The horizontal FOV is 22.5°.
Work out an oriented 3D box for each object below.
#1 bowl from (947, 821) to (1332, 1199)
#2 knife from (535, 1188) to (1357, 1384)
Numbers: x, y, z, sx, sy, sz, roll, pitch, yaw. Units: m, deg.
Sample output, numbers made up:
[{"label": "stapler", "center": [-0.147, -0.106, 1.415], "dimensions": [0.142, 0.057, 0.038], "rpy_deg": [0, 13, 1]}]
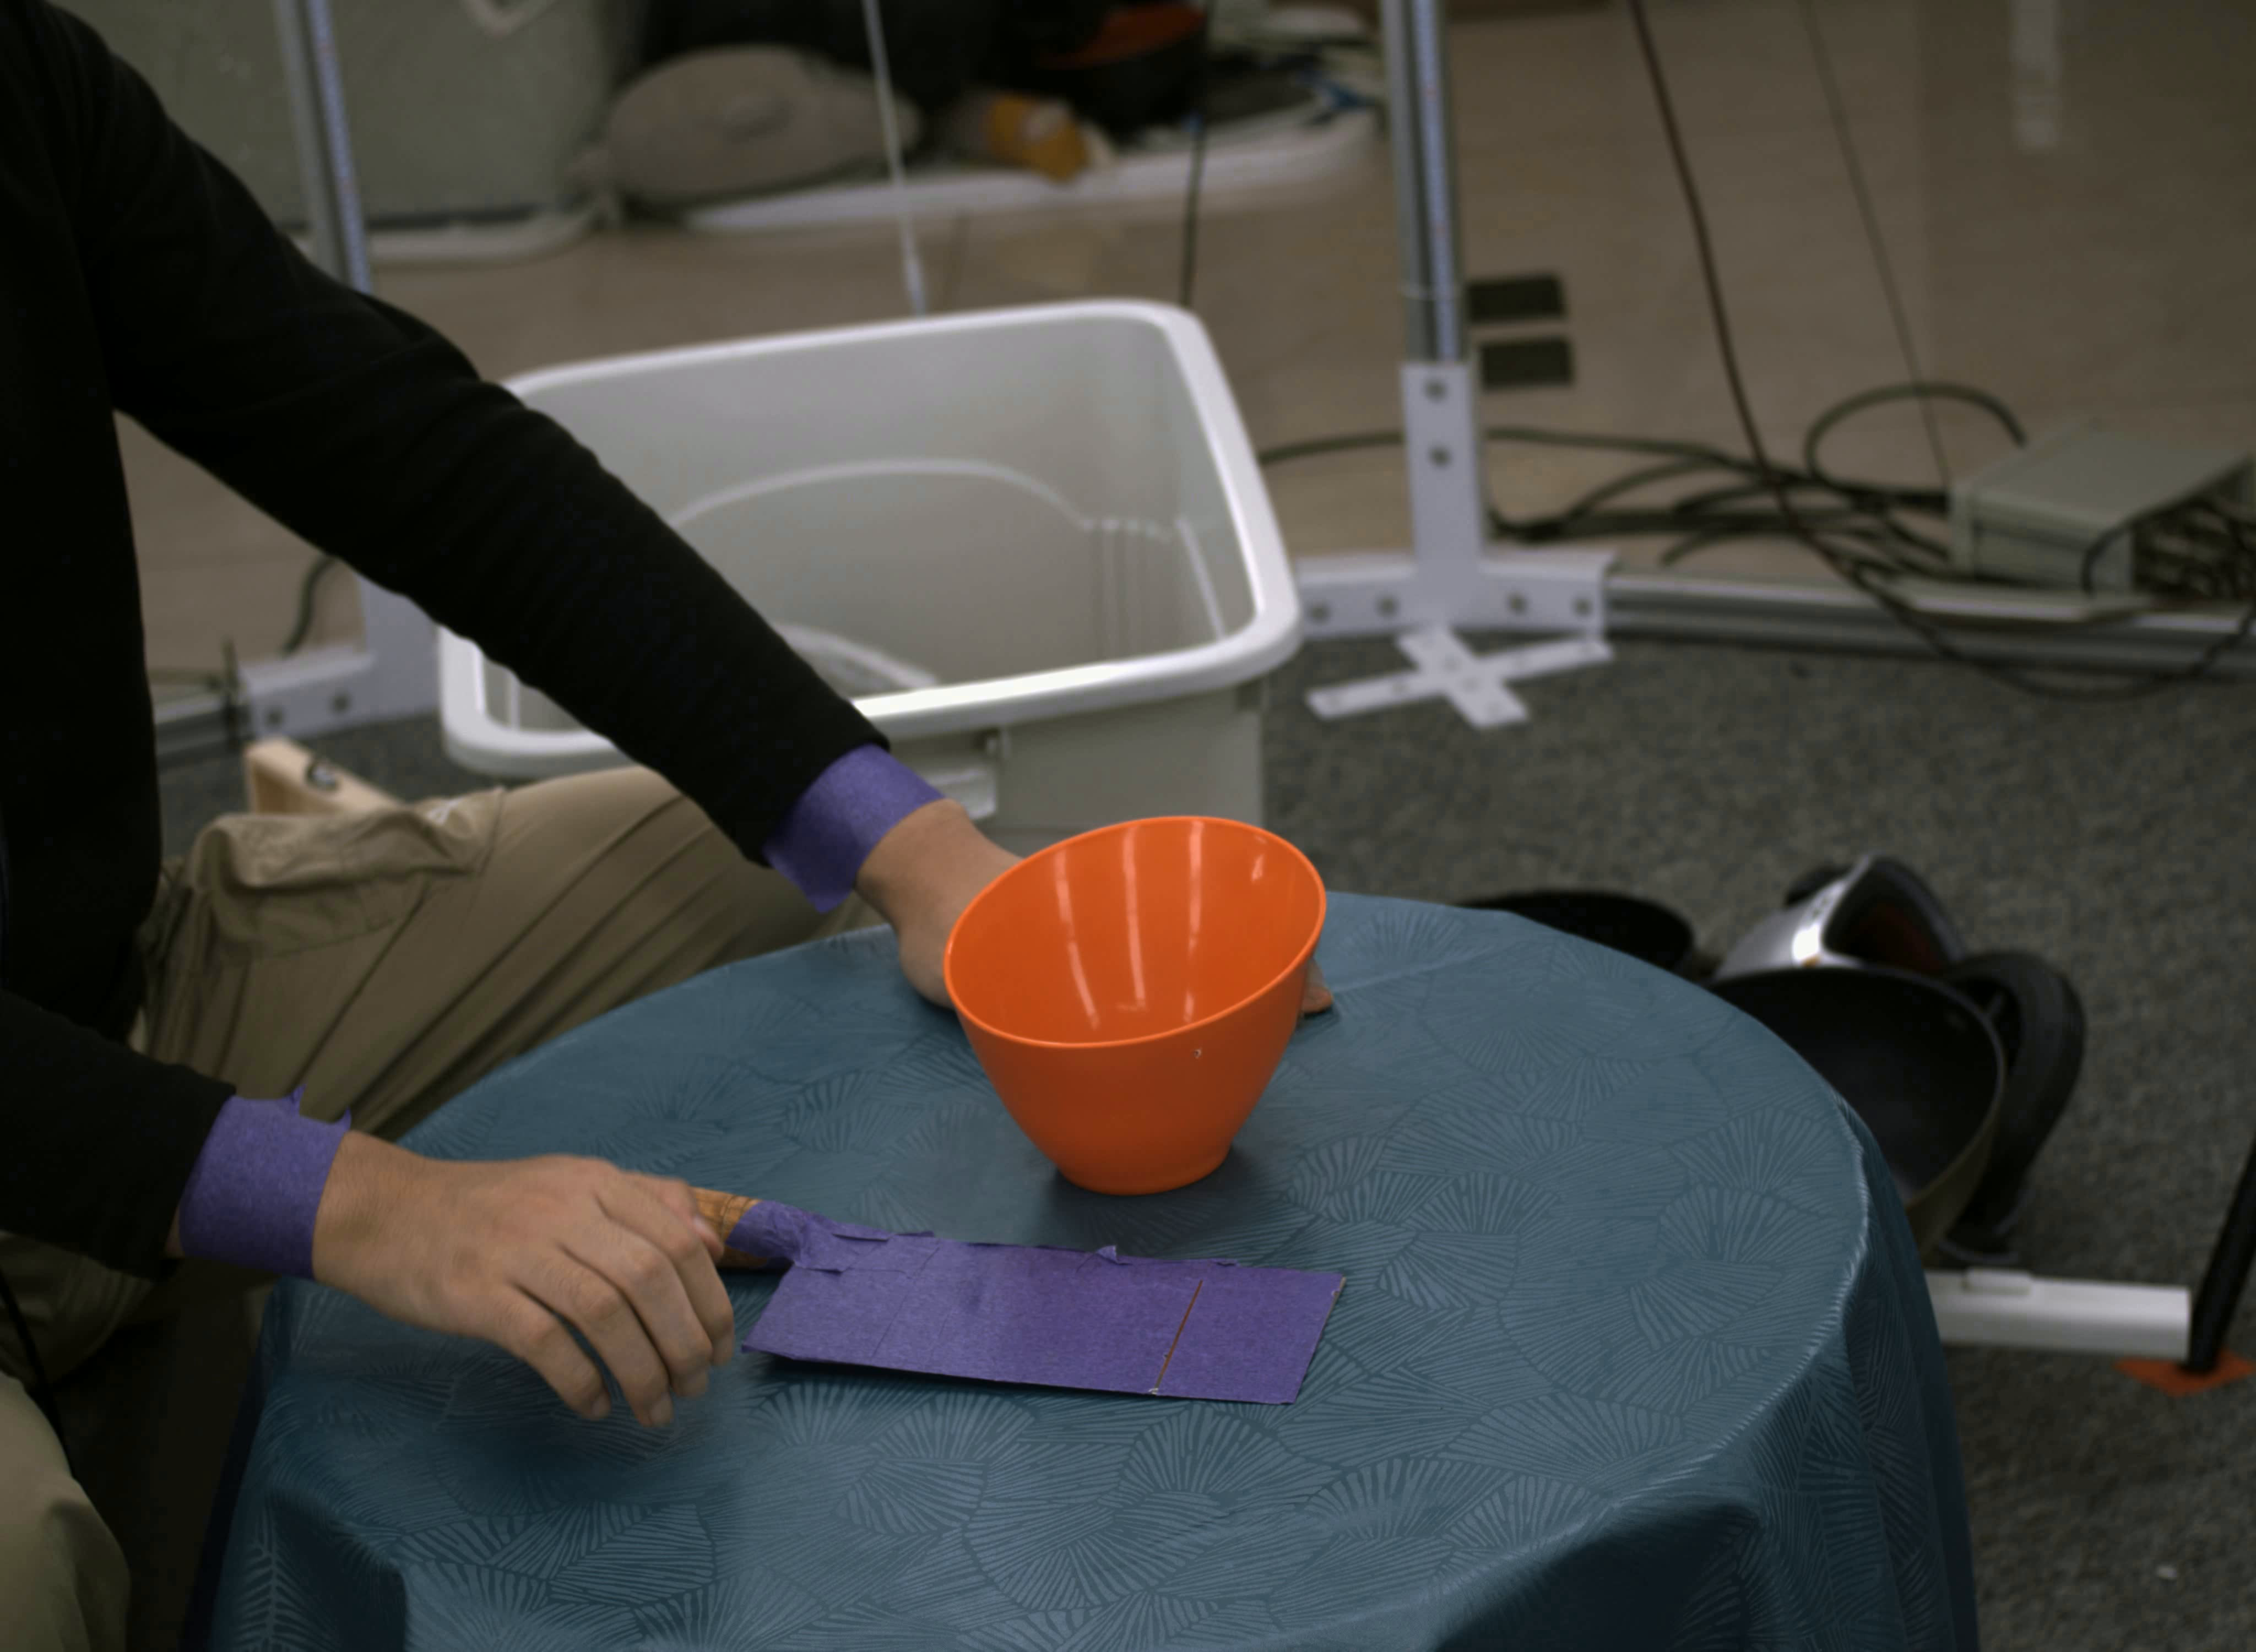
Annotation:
[{"label": "bowl", "center": [0.007, 0.076, 2.161], "dimensions": [0.148, 0.106, 0.146], "rpy_deg": [-4, 27, 2]}, {"label": "knife", "center": [-0.078, 0.168, 2.075], "dimensions": [0.314, 0.033, 0.102], "rpy_deg": [2, 26, 16]}]
